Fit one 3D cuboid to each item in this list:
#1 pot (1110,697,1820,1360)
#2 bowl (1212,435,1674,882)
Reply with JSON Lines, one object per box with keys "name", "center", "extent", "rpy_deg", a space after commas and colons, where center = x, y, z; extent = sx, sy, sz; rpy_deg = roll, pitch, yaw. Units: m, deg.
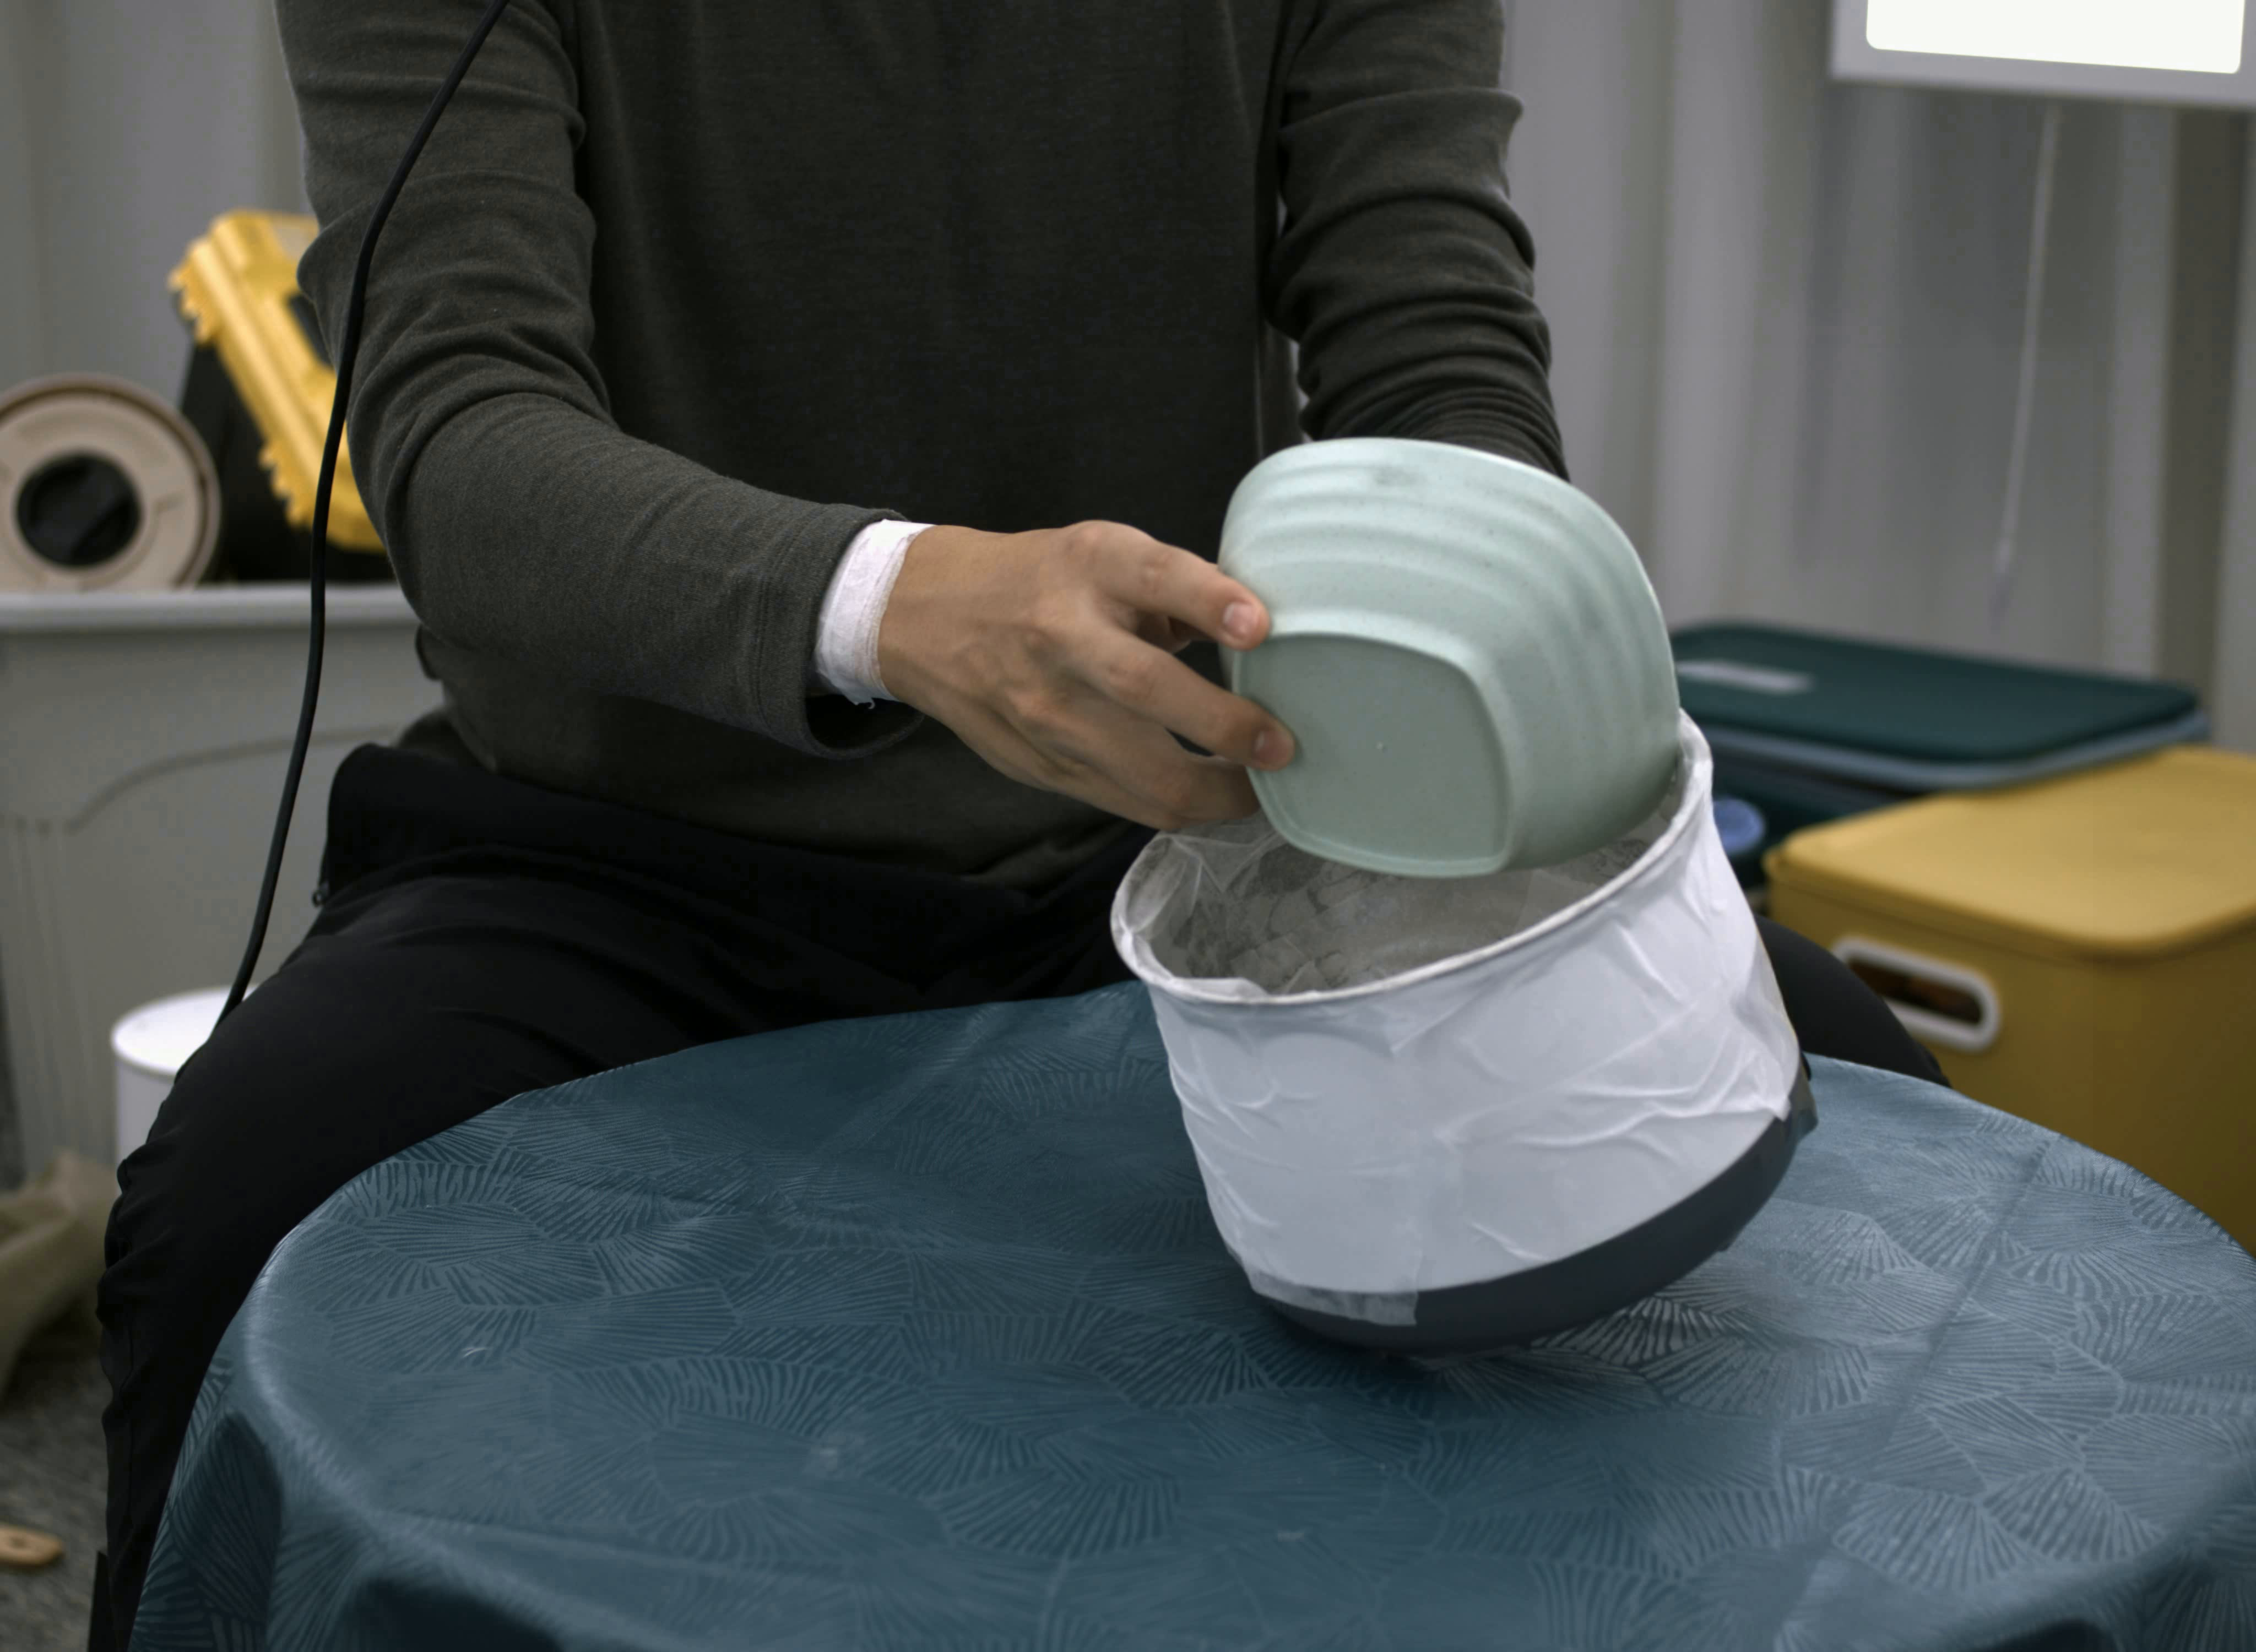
{"name": "pot", "center": [0.092, 0.047, 1.529], "extent": [0.178, 0.138, 0.231], "rpy_deg": [-21, 24, -5]}
{"name": "bowl", "center": [0.078, -0.036, 1.474], "extent": [0.149, 0.153, 0.058], "rpy_deg": [9, 41, 28]}
